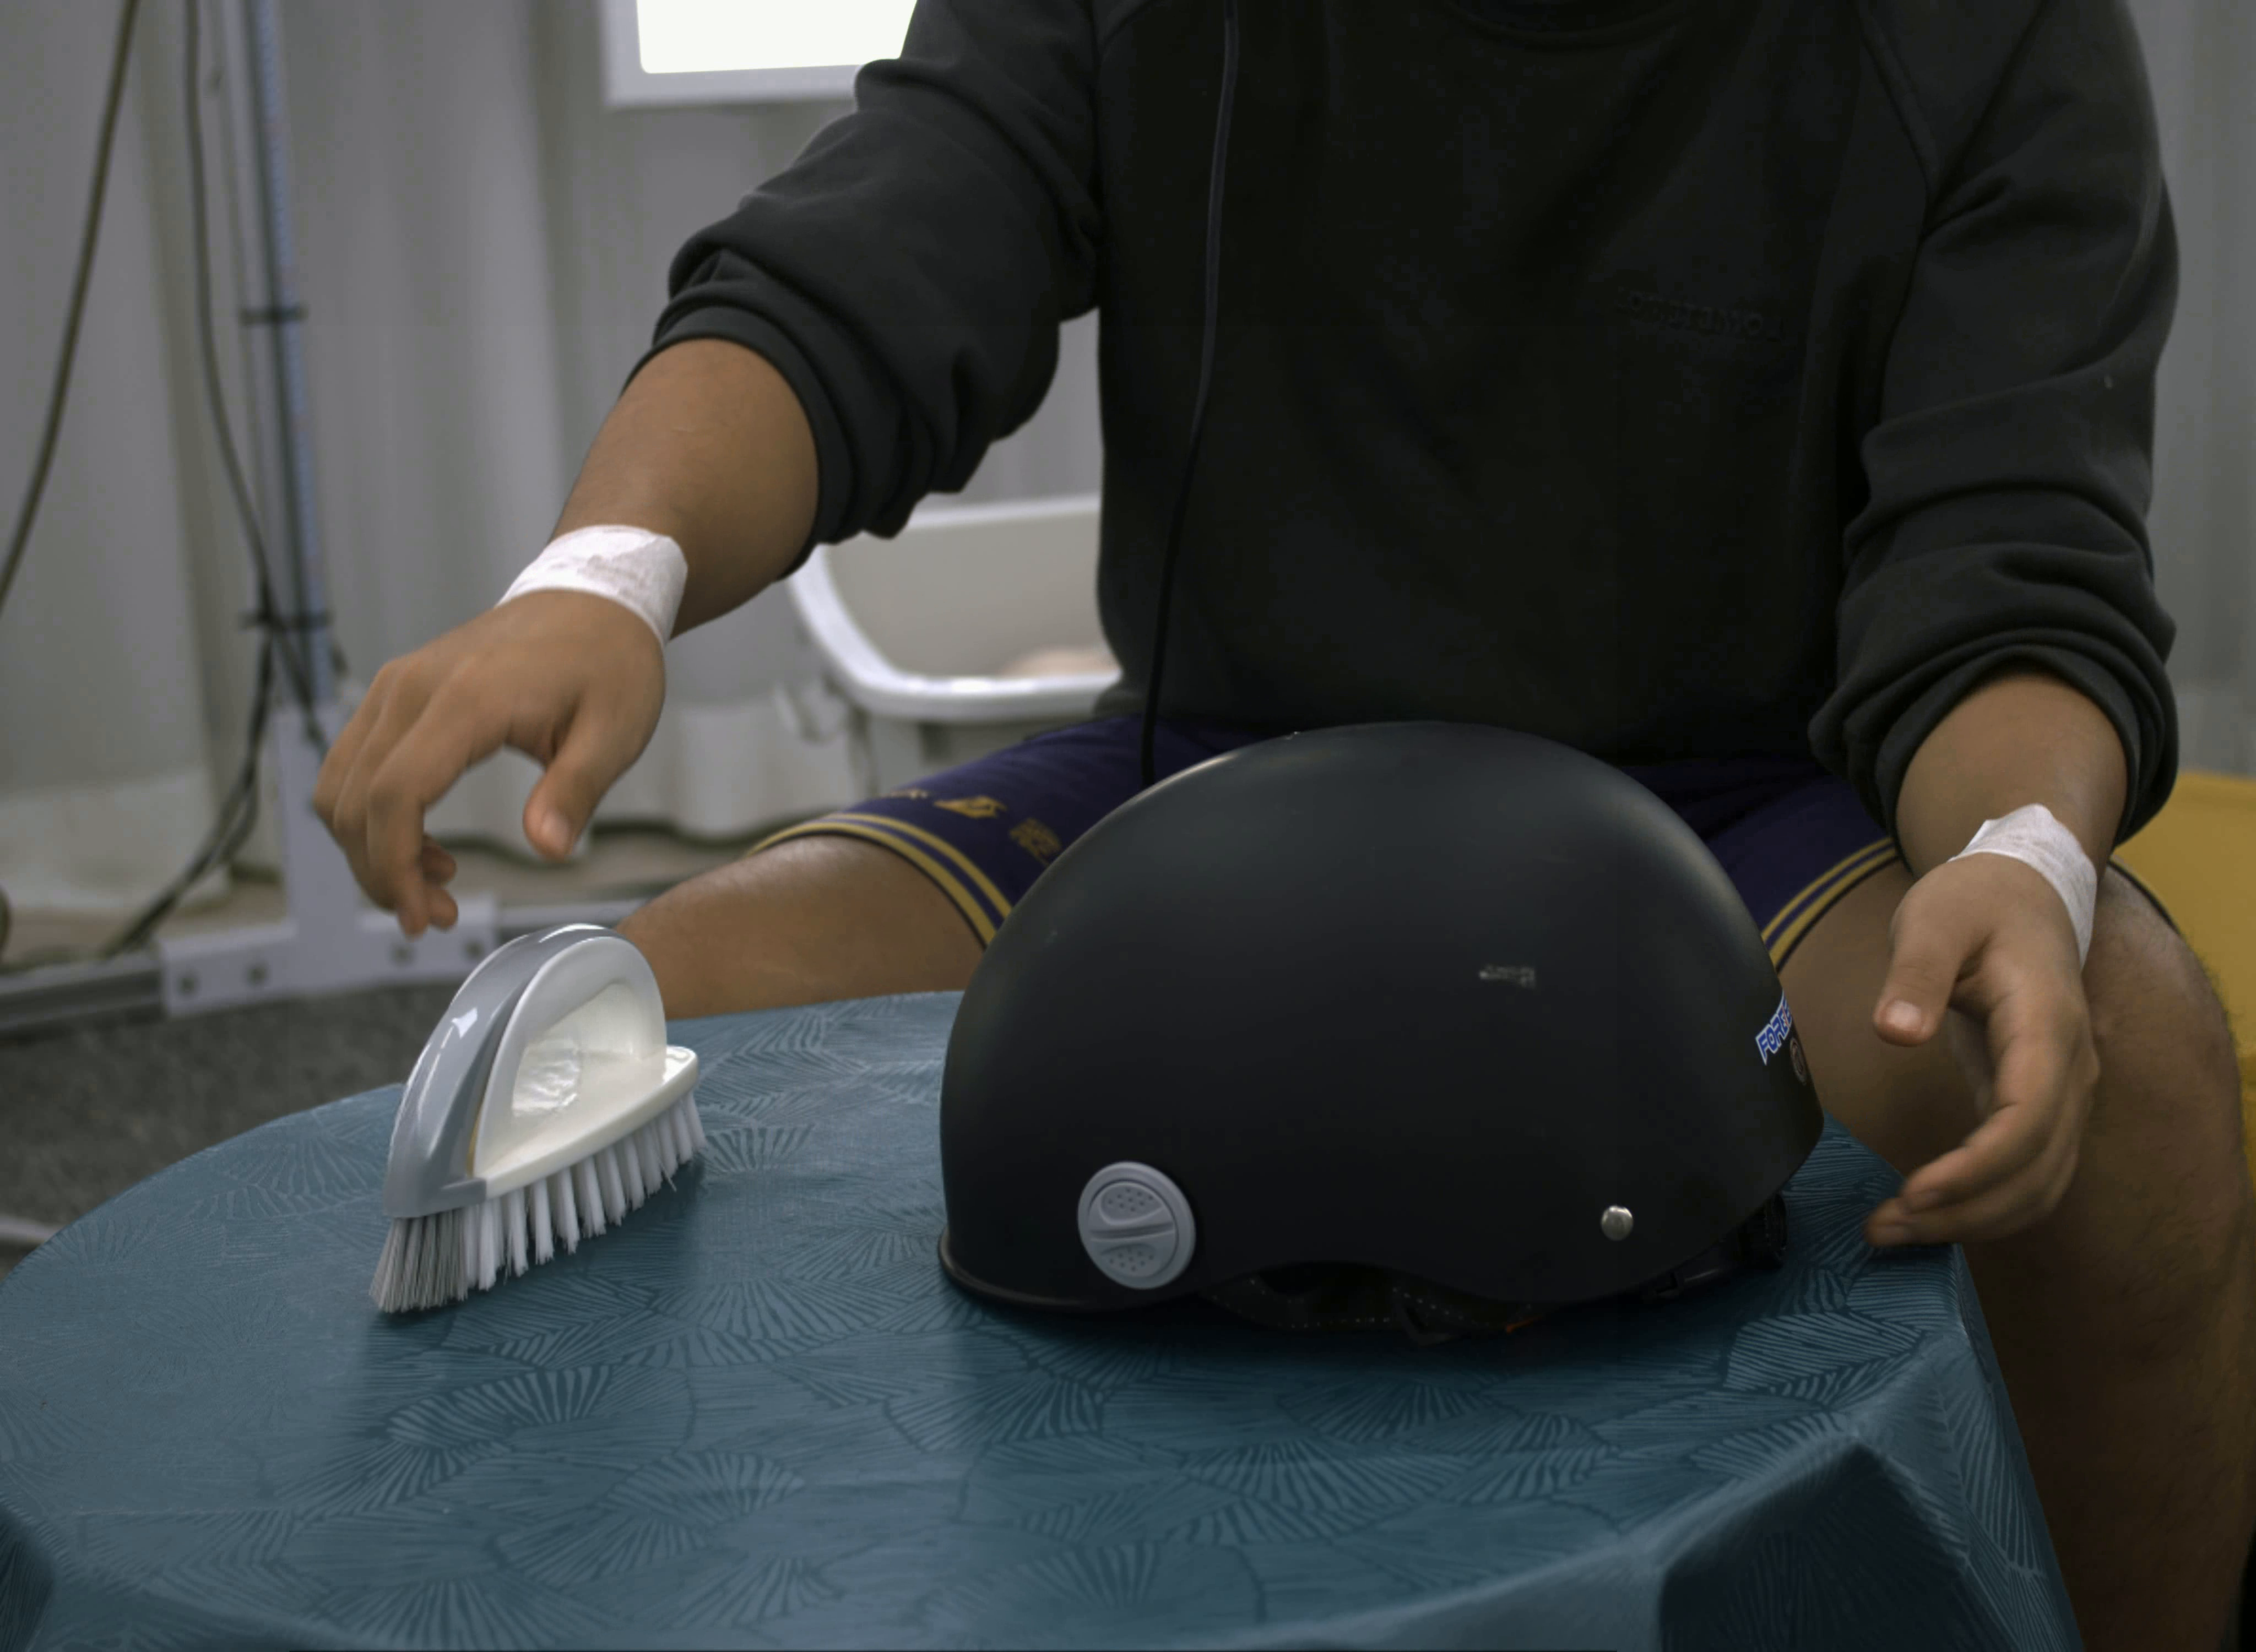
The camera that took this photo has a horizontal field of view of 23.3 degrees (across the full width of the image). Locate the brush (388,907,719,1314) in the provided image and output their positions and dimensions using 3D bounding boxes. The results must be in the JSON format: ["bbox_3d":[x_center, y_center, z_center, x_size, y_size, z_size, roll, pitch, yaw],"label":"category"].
[{"bbox_3d":[-0.187,0.082,1.696,0.061,0.094,0.176,0,17,21],"label":"brush"}]

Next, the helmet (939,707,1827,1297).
[{"bbox_3d":[0.070,0.049,1.639,0.273,0.166,0.231,0,14,20],"label":"helmet"}]
